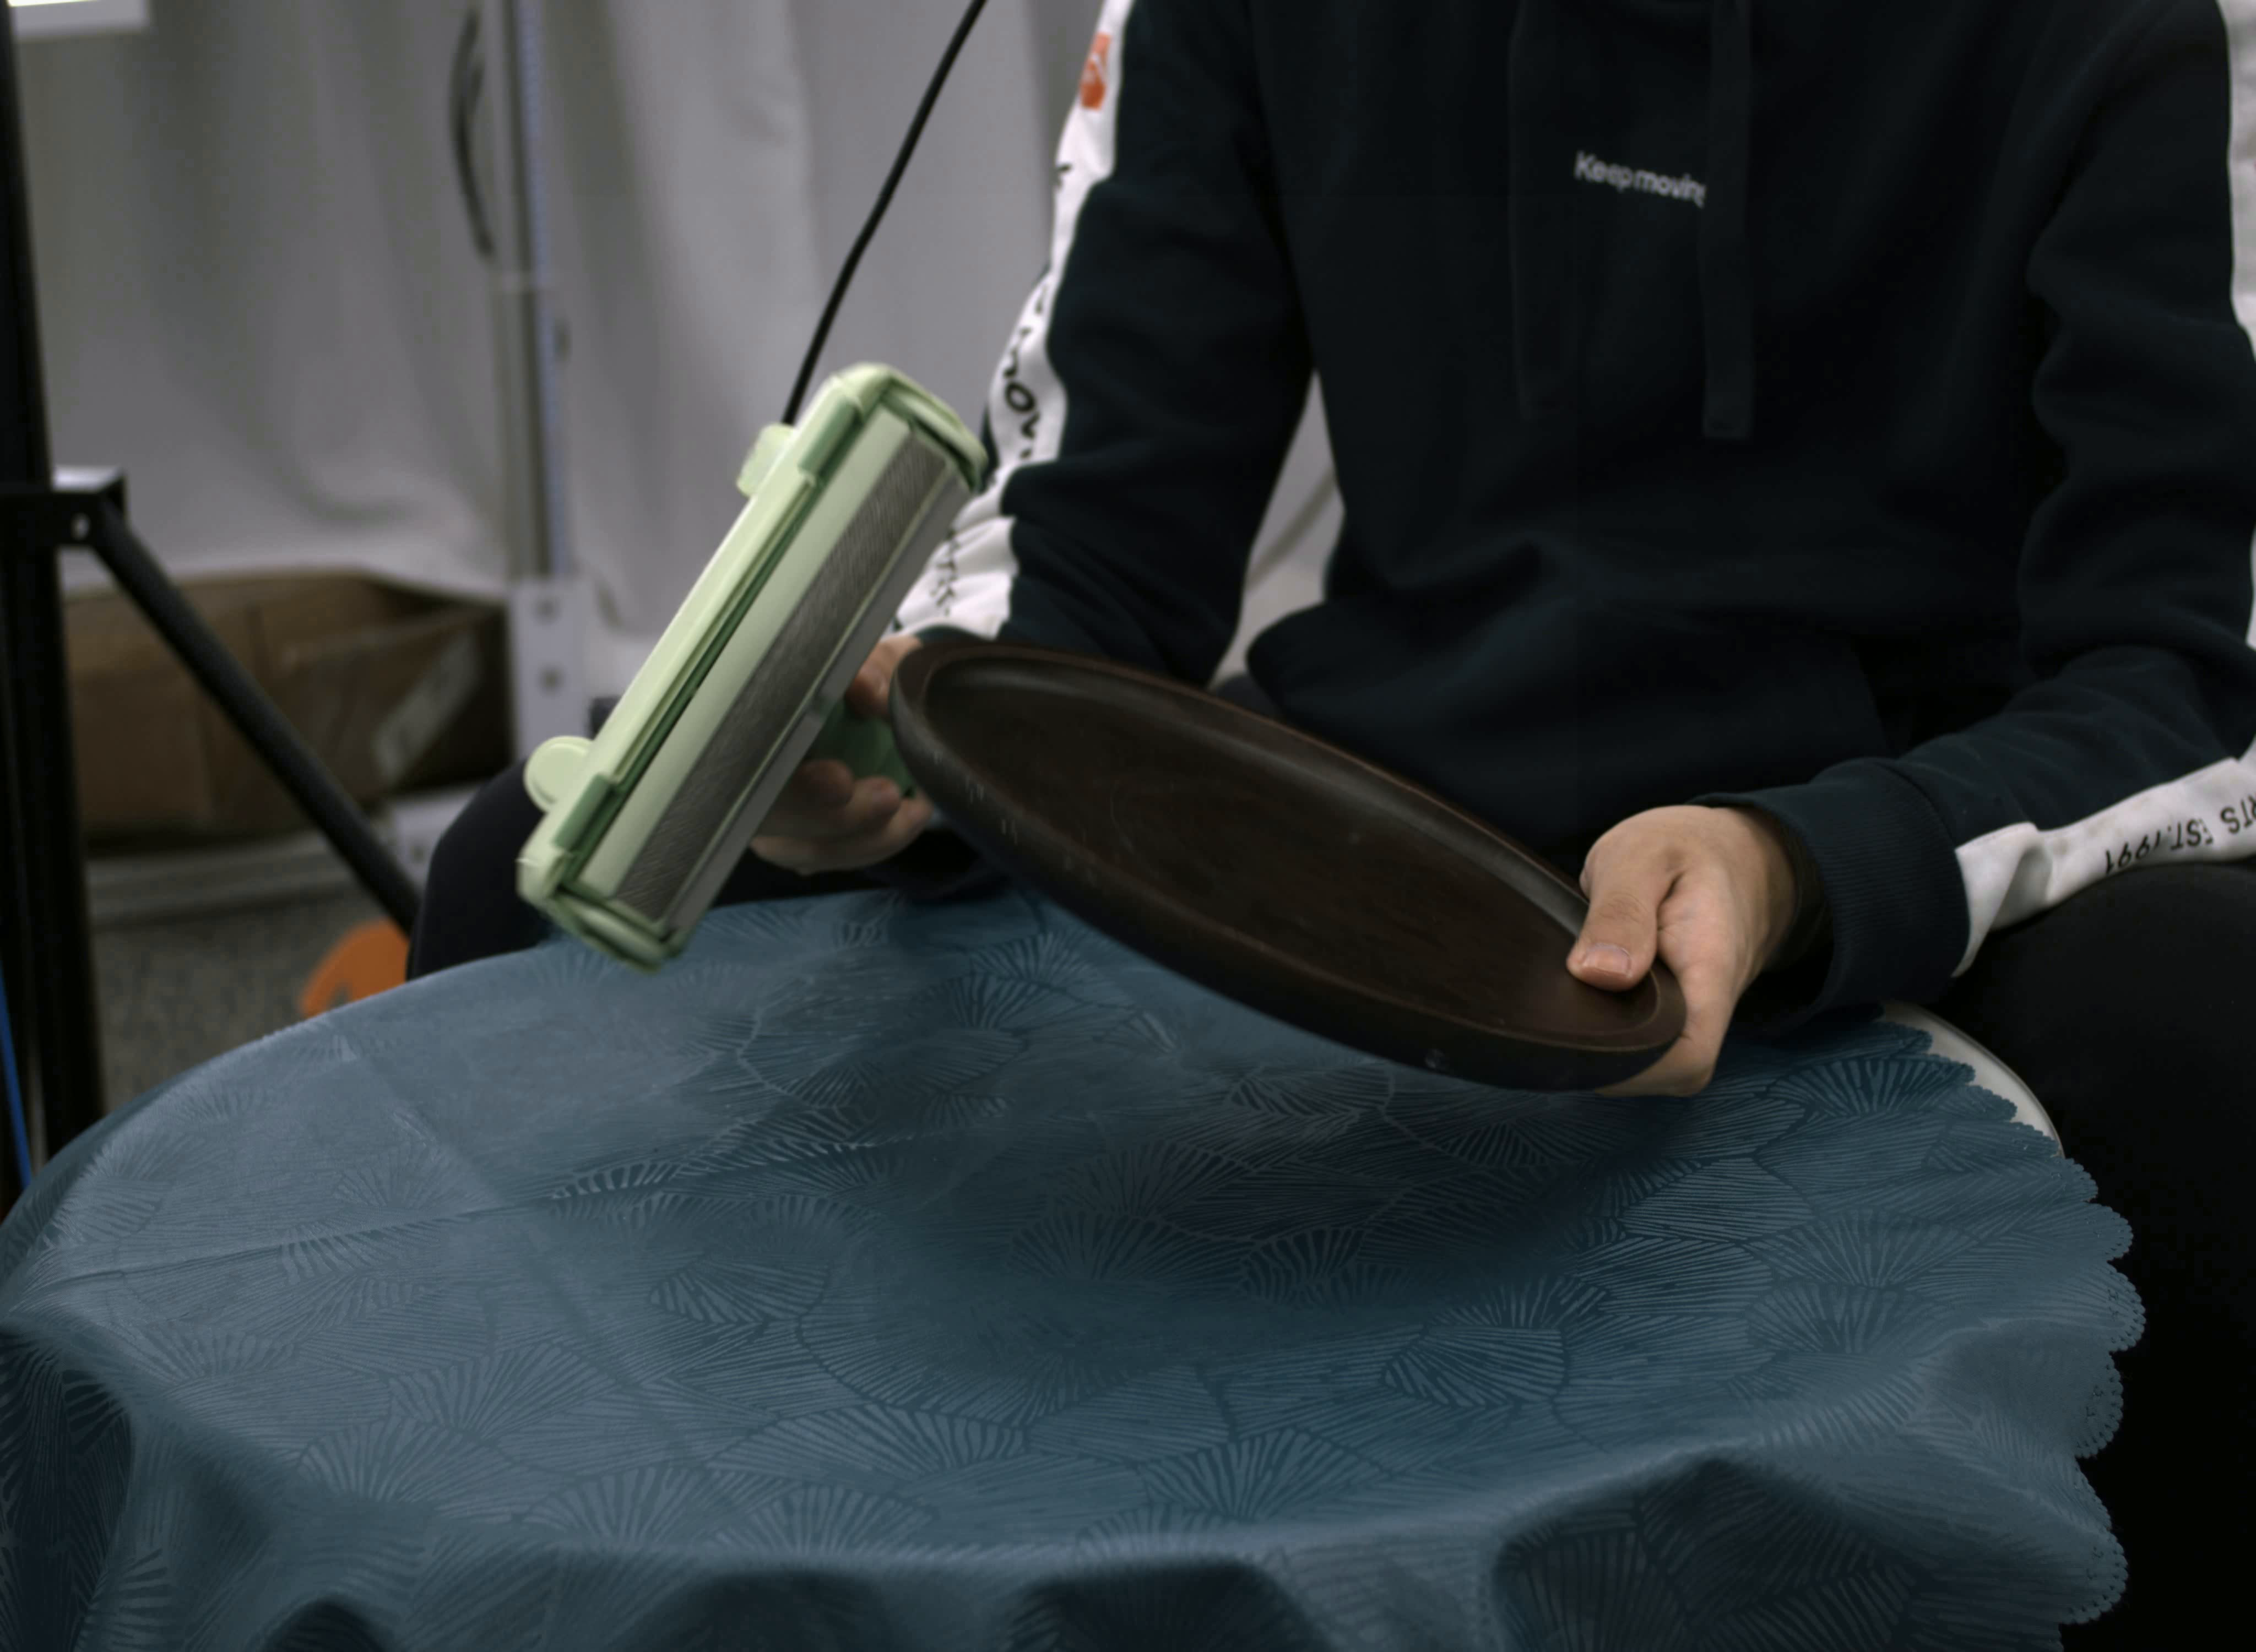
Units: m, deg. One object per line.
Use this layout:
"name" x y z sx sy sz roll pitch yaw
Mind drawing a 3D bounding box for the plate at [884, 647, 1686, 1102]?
"plate" 0.044 0.013 1.542 0.252 0.029 0.256 20 16 -7

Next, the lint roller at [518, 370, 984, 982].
"lint roller" -0.117 -0.041 1.689 0.083 0.199 0.182 32 -6 10
